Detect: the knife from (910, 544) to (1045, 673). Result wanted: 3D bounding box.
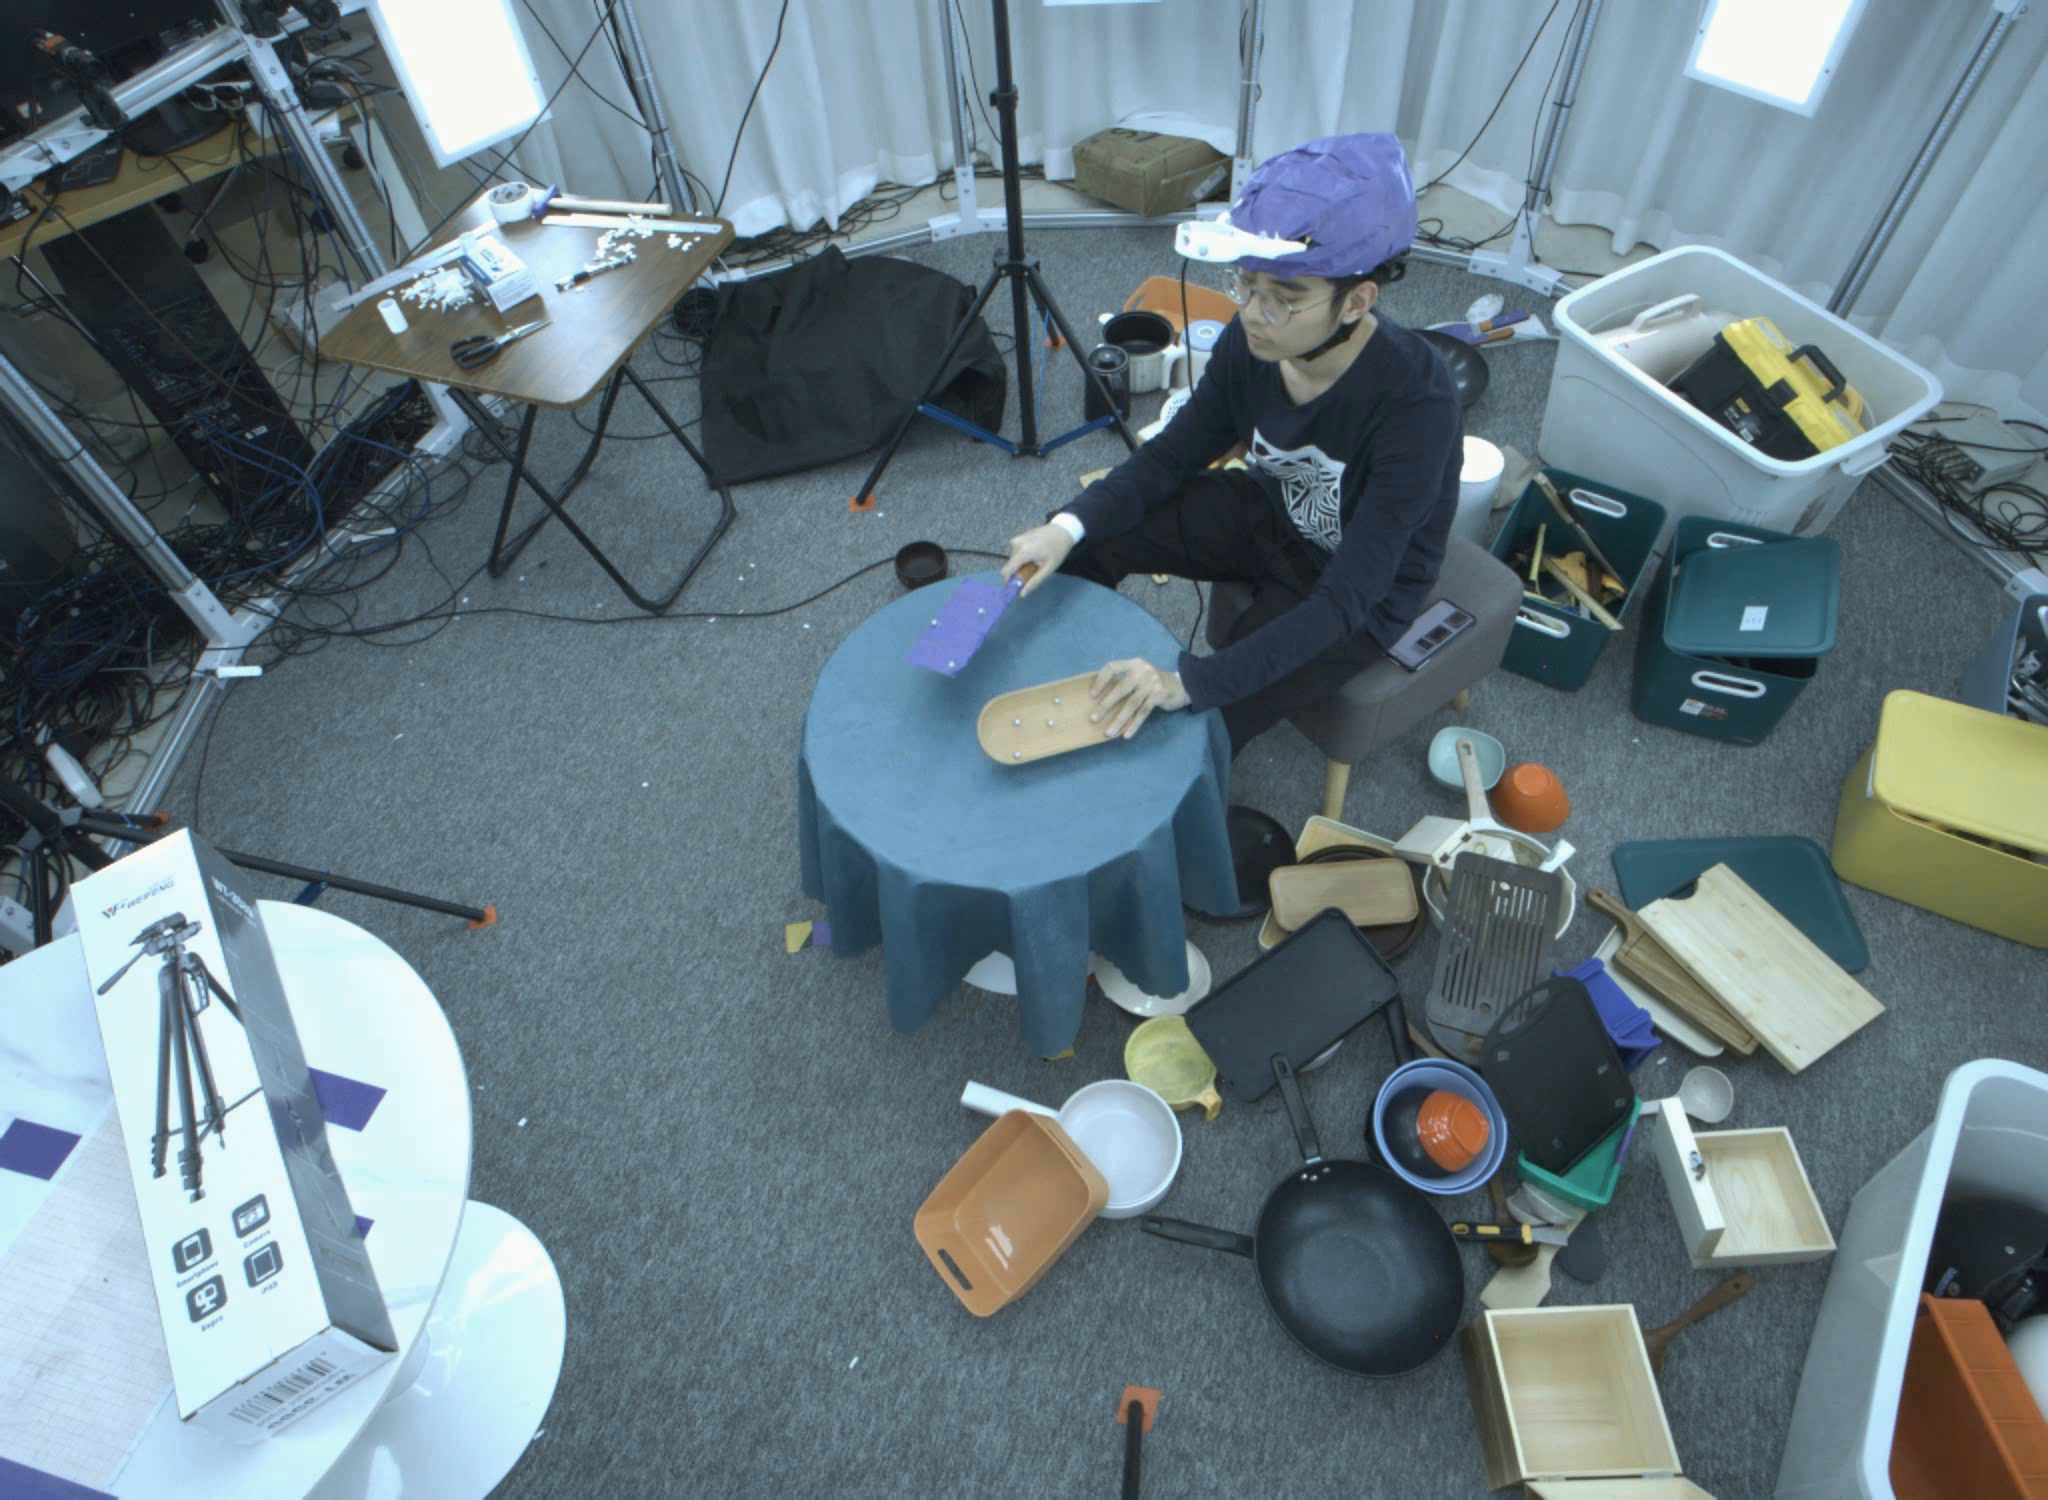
[{"bbox_3d":[-0.070,-0.224,1.849,0.102,0.032,0.316,18,47,15],"label":"knife"}]

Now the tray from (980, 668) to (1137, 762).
[{"bbox_3d":[0.050,-0.050,1.759,0.233,0.020,0.102,-15,93,-12],"label":"tray"}]
